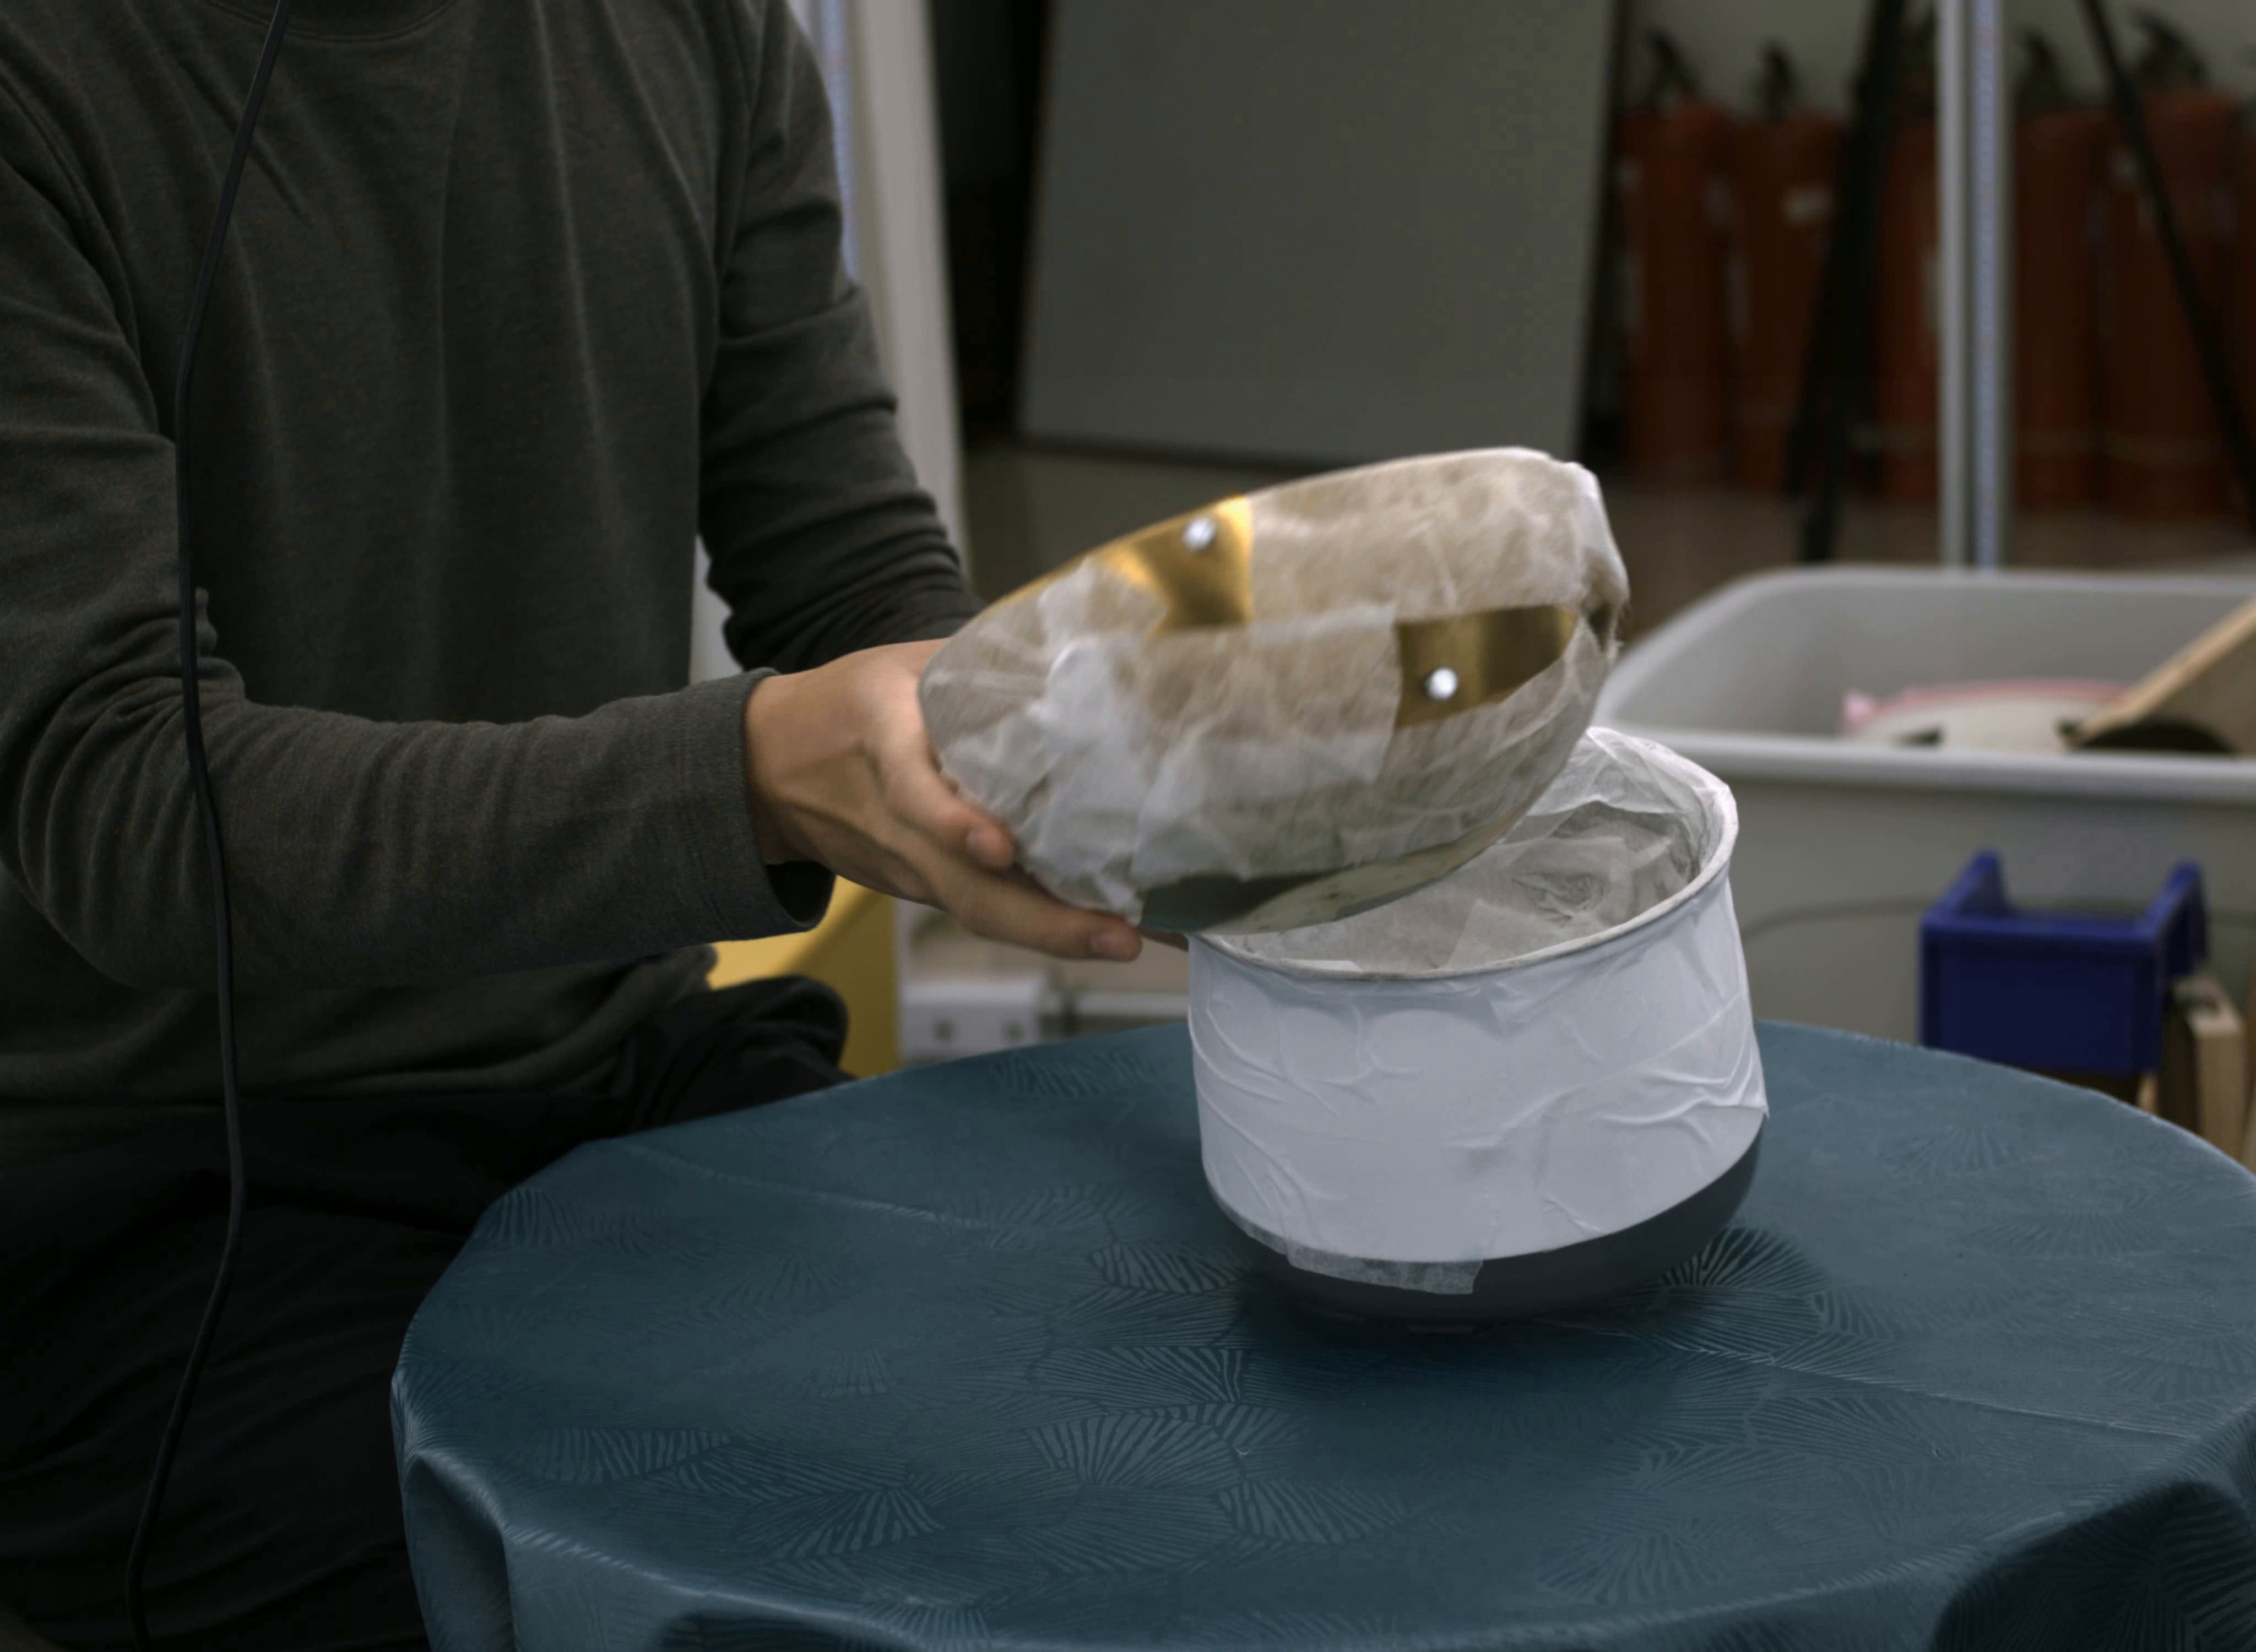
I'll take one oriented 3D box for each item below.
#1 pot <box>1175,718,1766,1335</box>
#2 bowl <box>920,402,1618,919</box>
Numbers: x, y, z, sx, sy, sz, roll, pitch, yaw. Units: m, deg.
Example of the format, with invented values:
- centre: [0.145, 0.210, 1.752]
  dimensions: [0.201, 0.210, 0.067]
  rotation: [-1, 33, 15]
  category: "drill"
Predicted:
- centre: [0.092, 0.053, 1.672]
  dimensions: [0.175, 0.137, 0.236]
  rotation: [-19, 25, -23]
  category: "pot"
- centre: [0.047, -0.030, 1.496]
  dimensions: [0.212, 0.096, 0.215]
  rotation: [-15, -17, -6]
  category: "bowl"
